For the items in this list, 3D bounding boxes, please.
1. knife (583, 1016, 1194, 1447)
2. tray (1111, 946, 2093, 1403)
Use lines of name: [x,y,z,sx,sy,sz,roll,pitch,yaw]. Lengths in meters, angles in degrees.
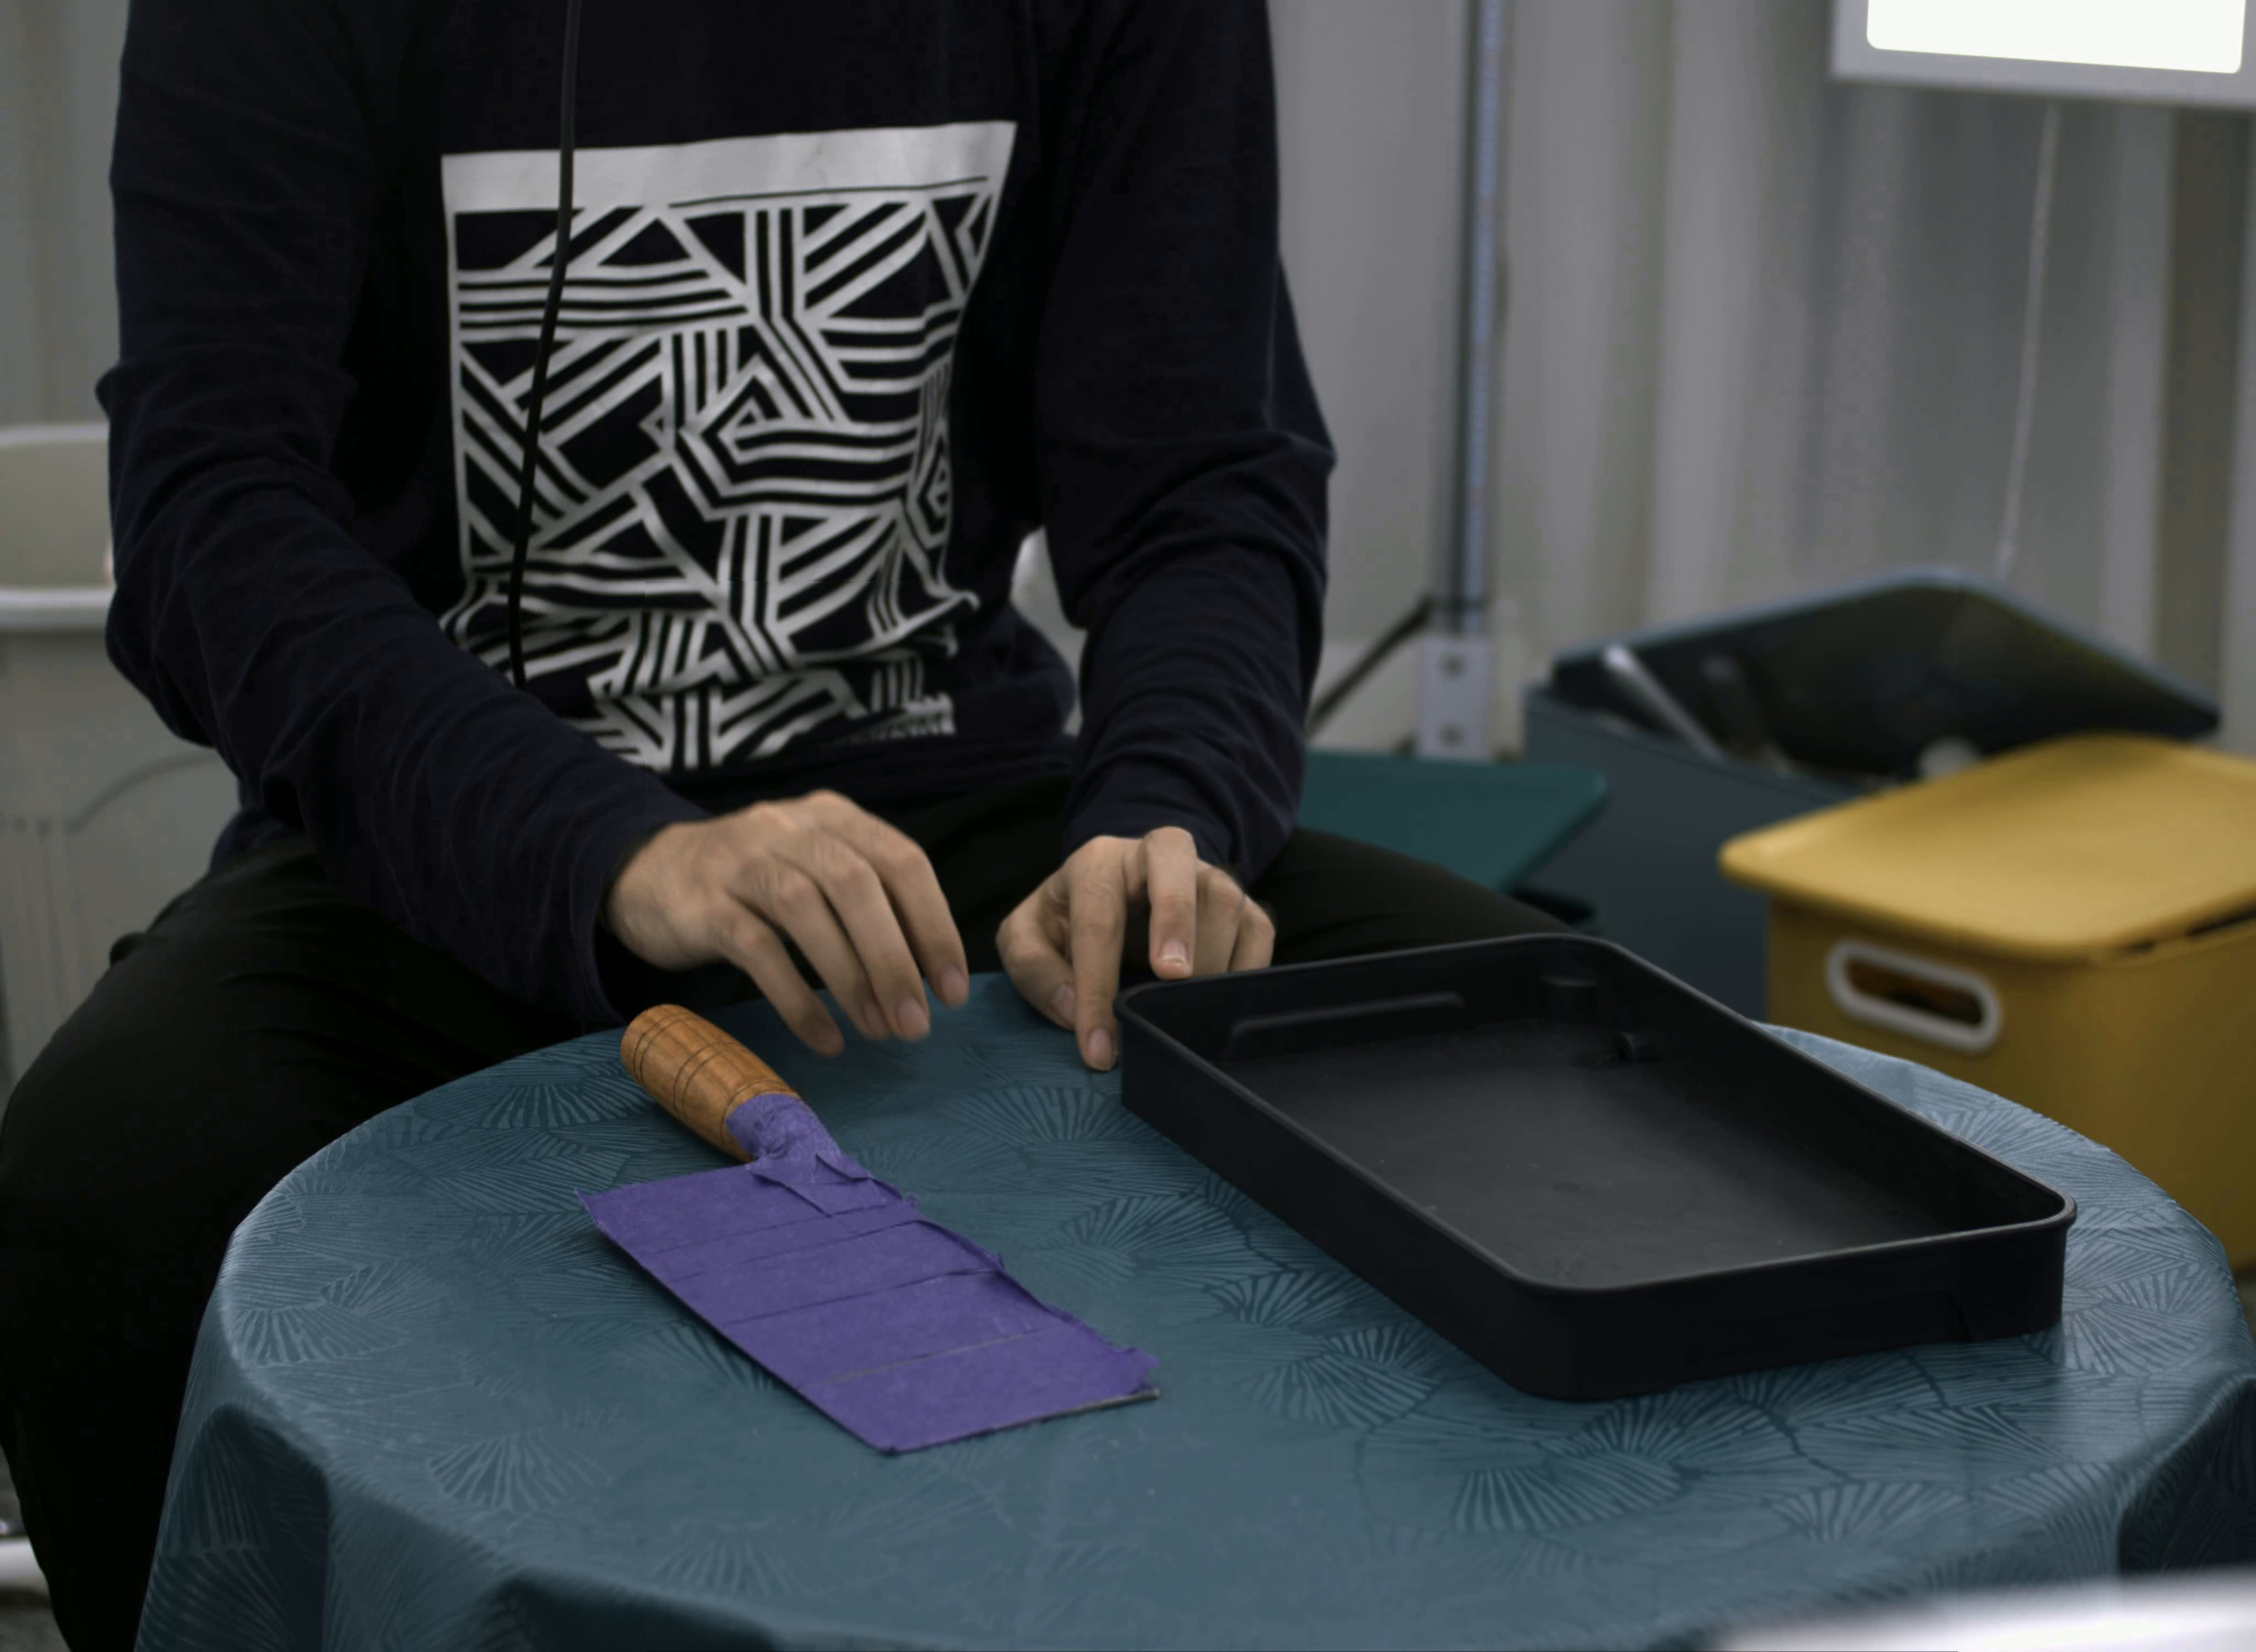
knife: [-0.102,0.116,1.558,0.104,0.032,0.311,-8,18,-30]
tray: [0.136,0.100,1.612,0.185,0.037,0.314,-7,16,-24]
